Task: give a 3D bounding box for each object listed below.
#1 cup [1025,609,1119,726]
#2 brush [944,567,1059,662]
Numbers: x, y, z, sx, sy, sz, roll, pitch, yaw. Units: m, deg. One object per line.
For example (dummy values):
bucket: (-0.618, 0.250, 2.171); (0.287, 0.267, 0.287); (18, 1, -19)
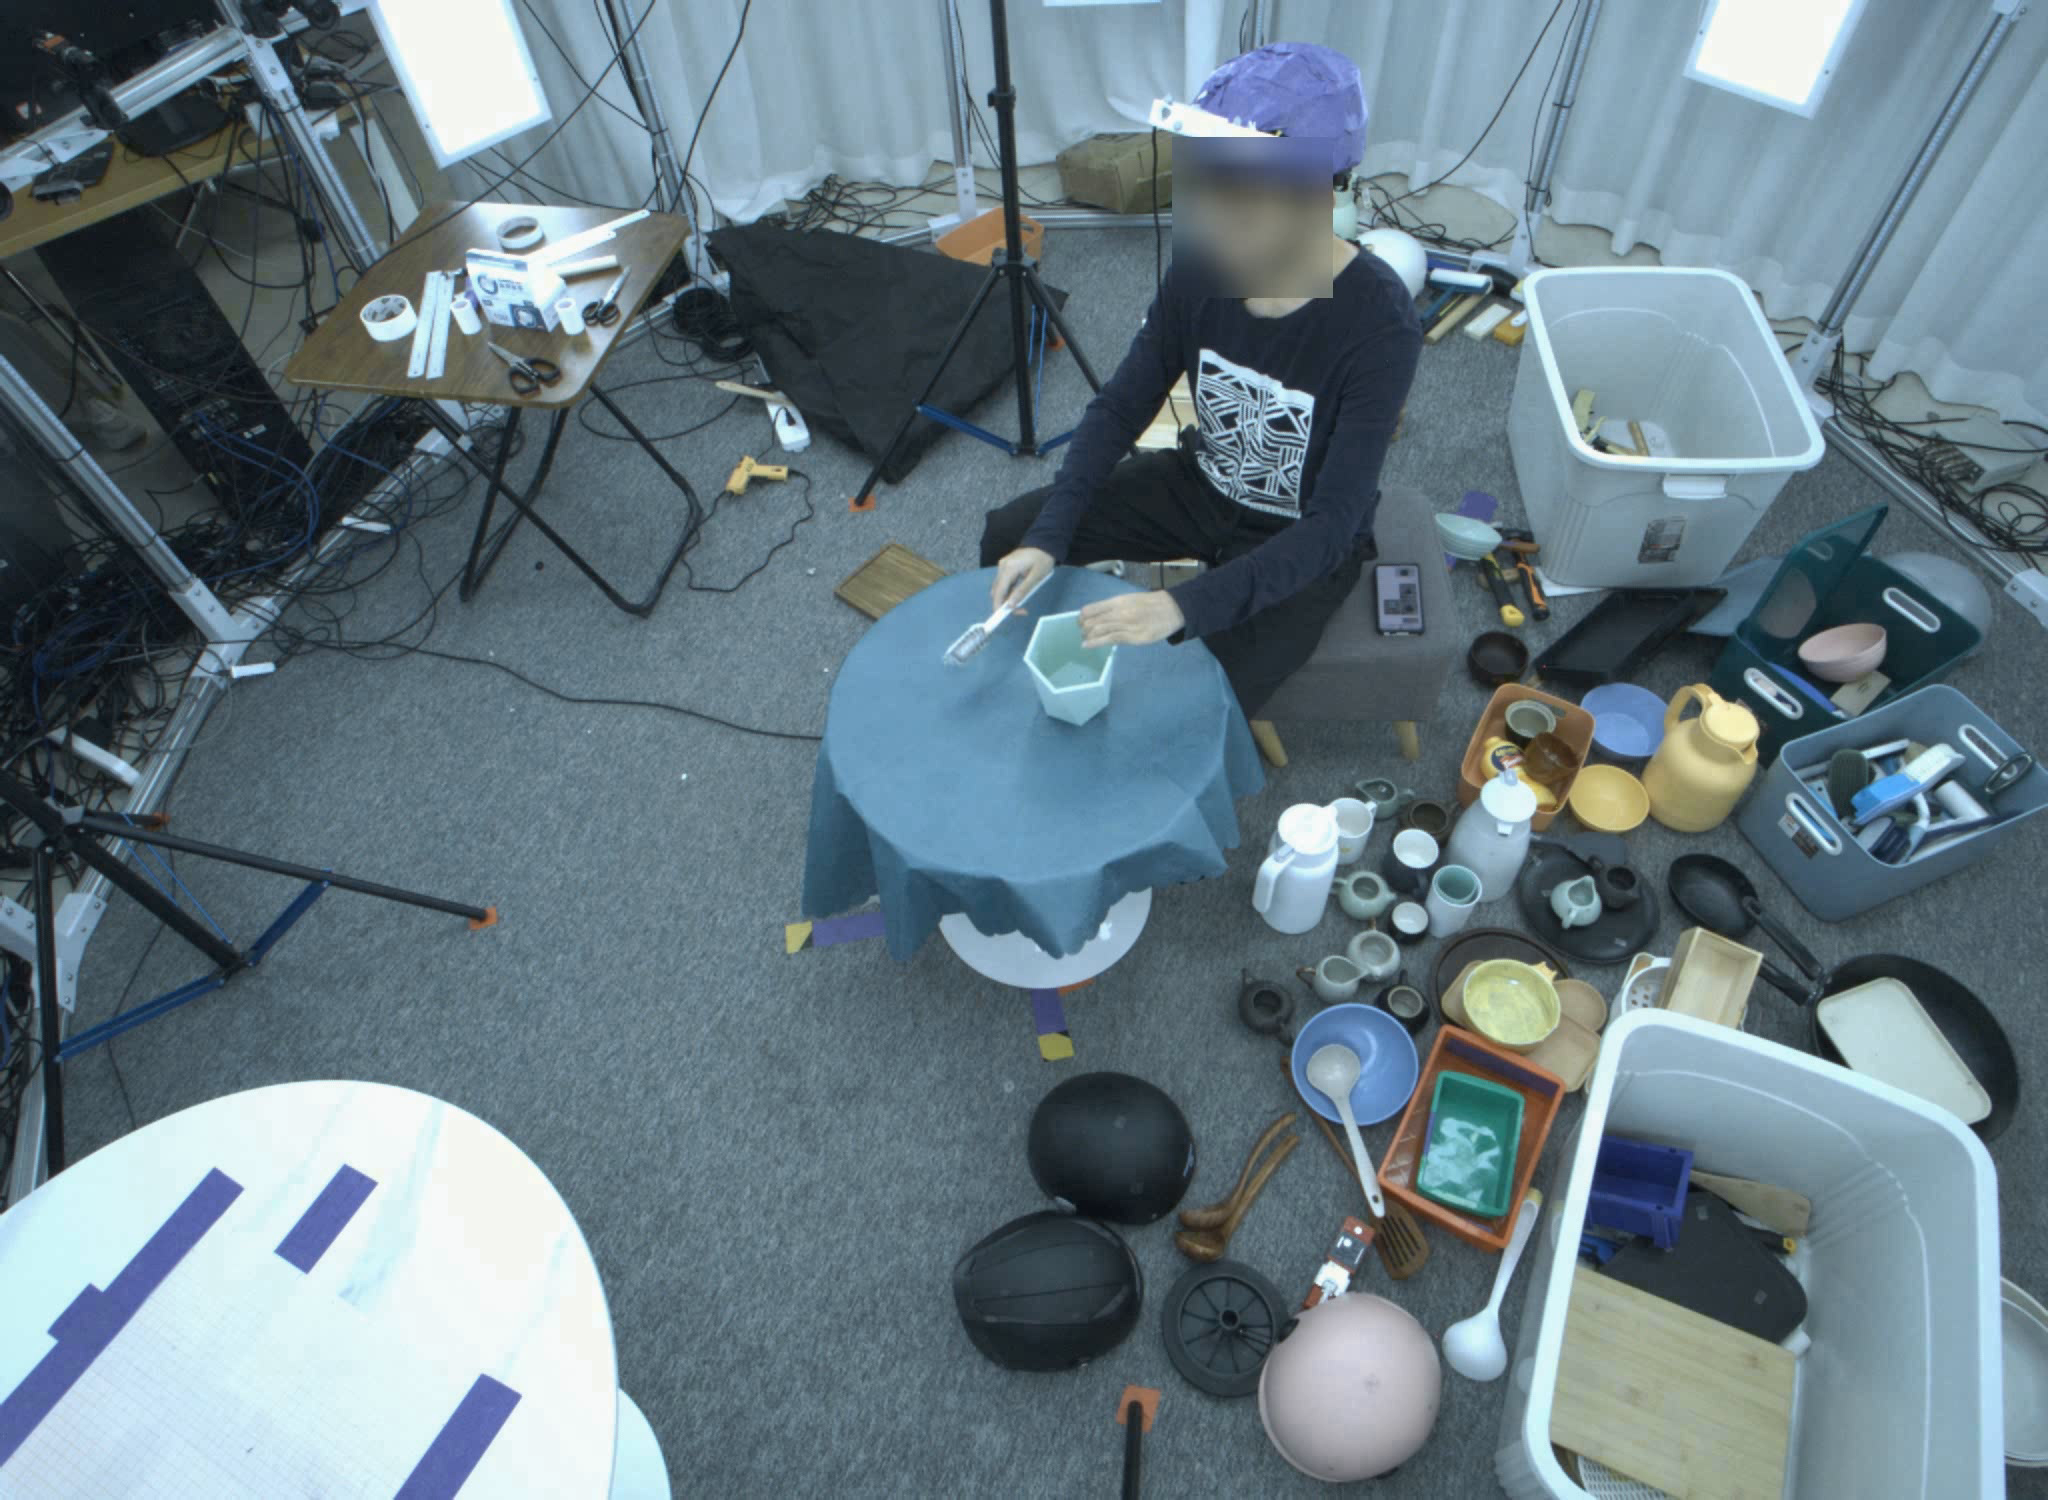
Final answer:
cup: (0.071, -0.108, 1.740); (0.131, 0.164, 0.114); (-13, 71, -1)
brush: (-0.026, -0.208, 1.829); (0.245, 0.049, 0.034); (-41, 99, -25)
